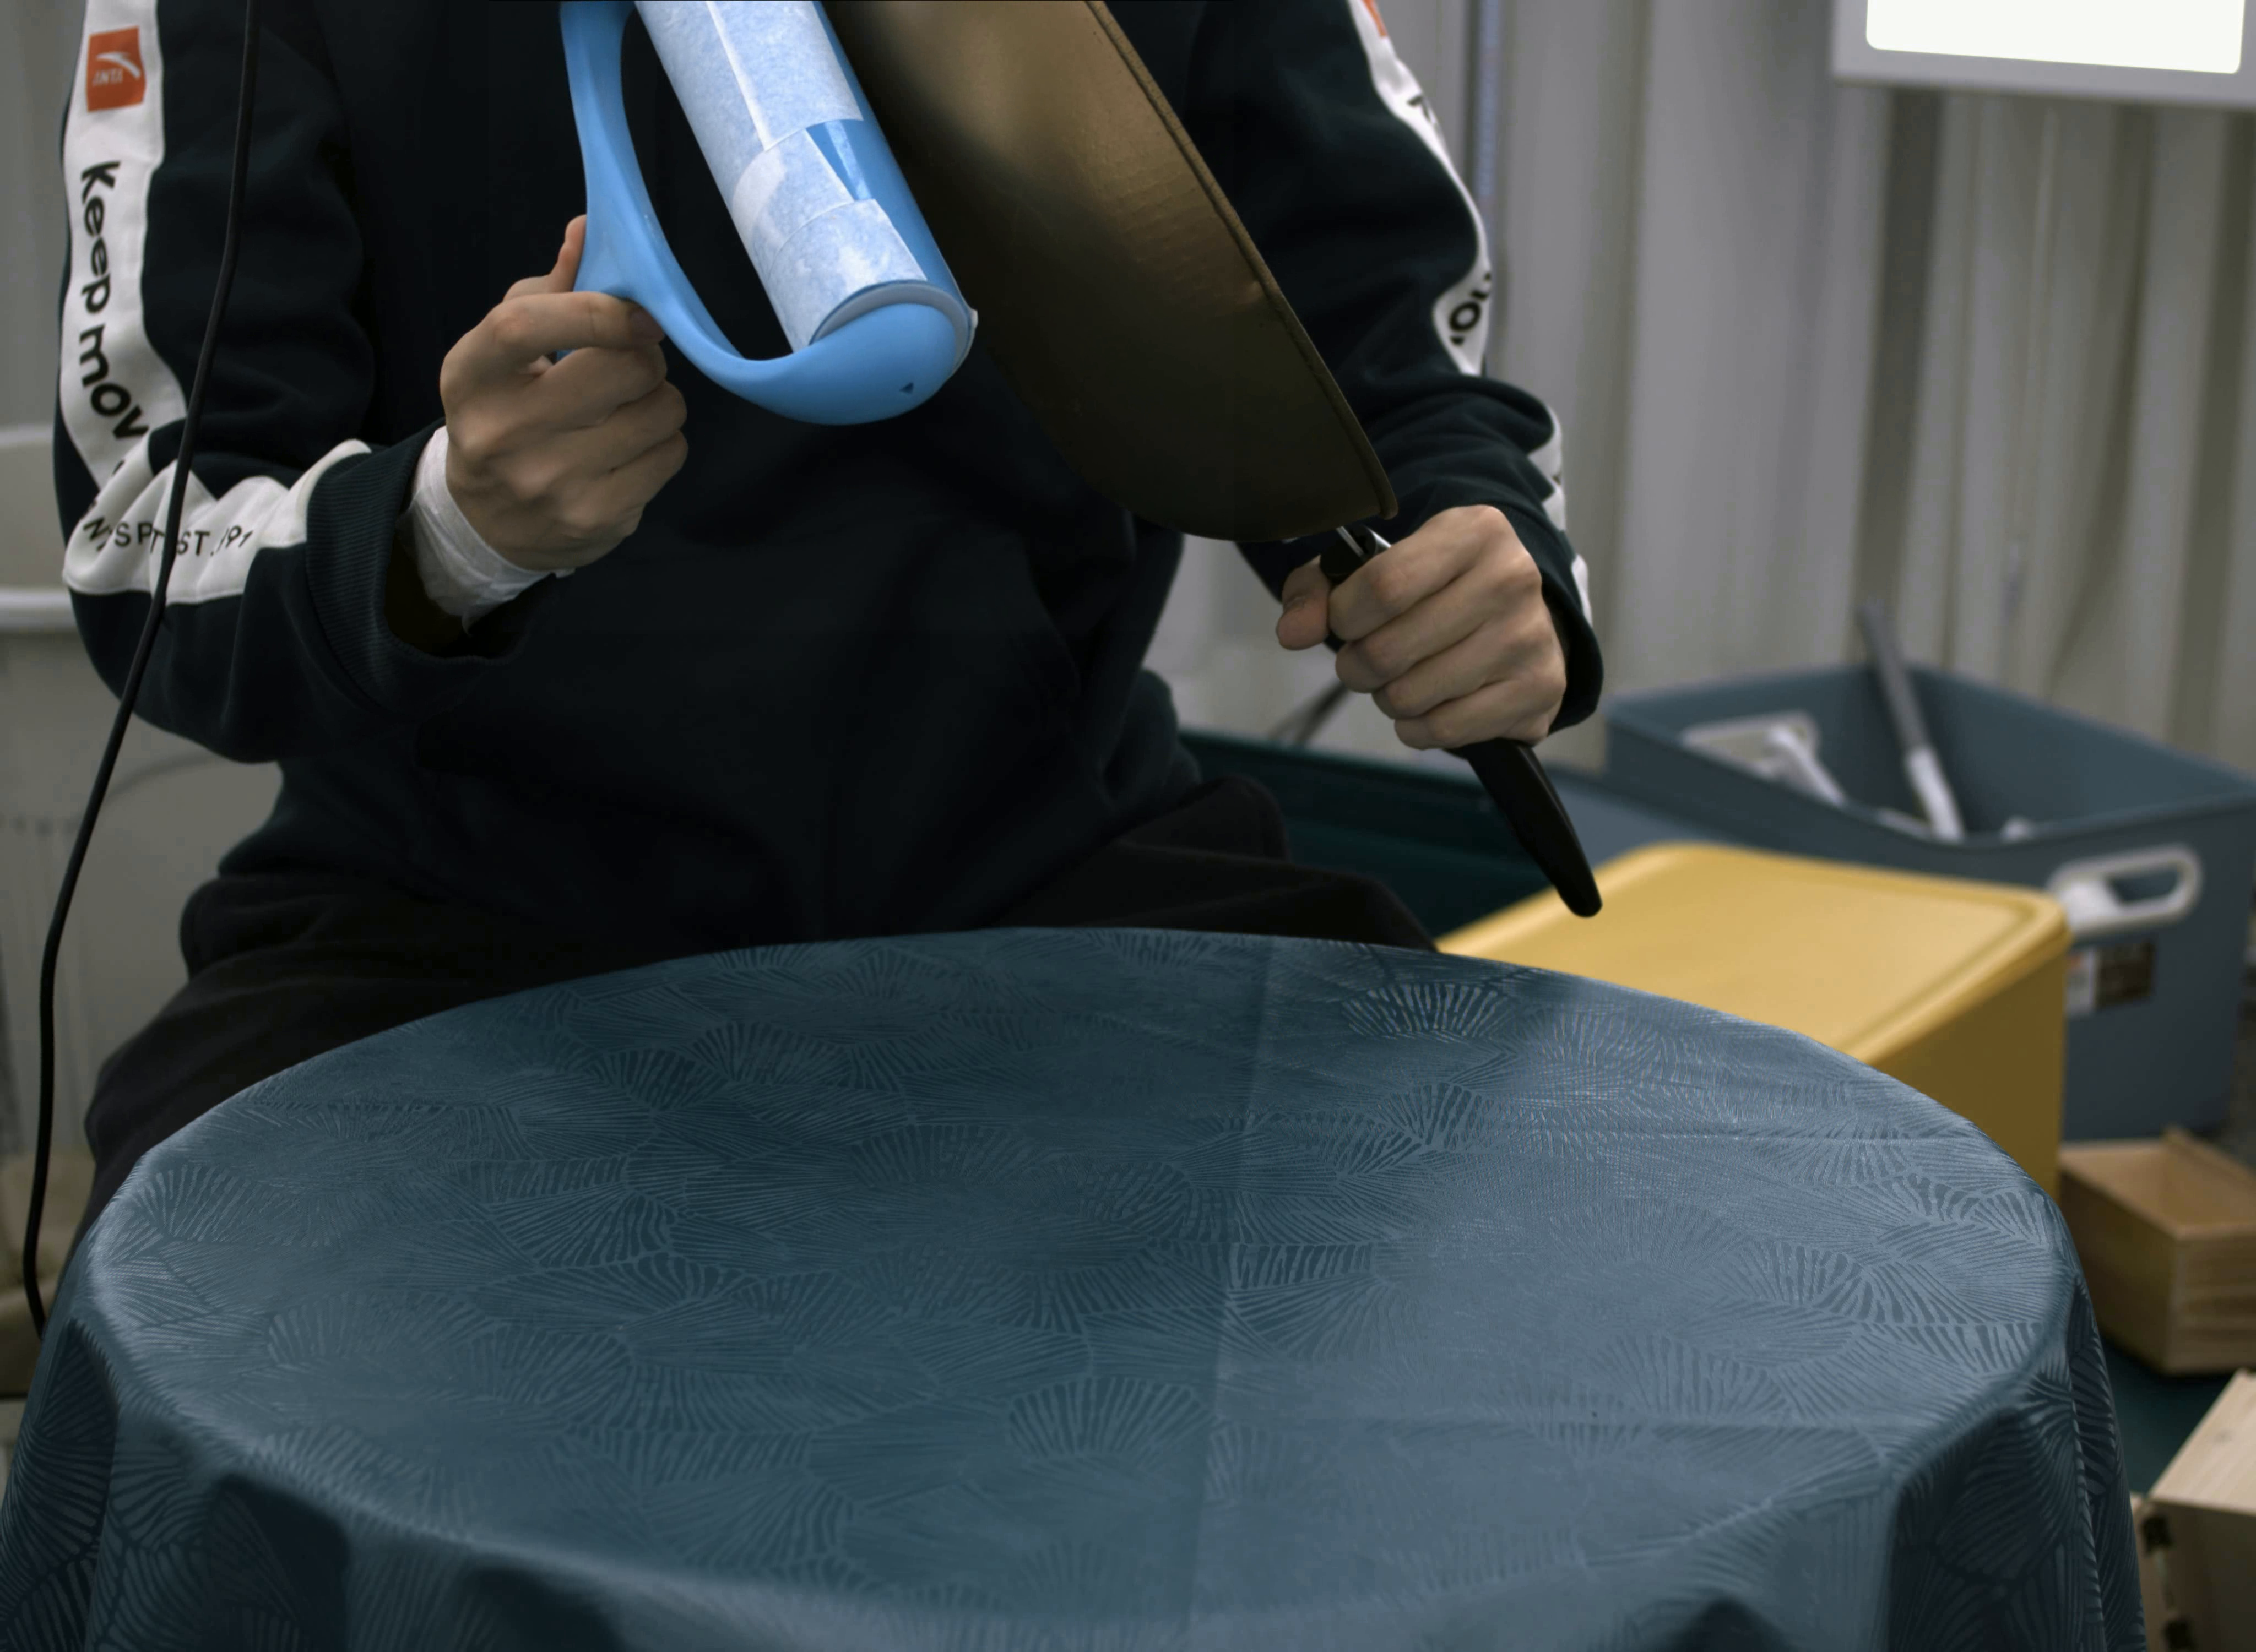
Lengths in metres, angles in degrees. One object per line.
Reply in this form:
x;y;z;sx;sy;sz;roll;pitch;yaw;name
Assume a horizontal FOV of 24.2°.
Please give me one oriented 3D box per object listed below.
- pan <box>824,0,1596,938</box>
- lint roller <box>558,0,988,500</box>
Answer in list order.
0.021;-0.129;1.751;0.087;0.469;0.285;-32;27;-1;pan
-0.138;-0.174;1.648;0.068;0.180;0.226;15;35;-45;lint roller
